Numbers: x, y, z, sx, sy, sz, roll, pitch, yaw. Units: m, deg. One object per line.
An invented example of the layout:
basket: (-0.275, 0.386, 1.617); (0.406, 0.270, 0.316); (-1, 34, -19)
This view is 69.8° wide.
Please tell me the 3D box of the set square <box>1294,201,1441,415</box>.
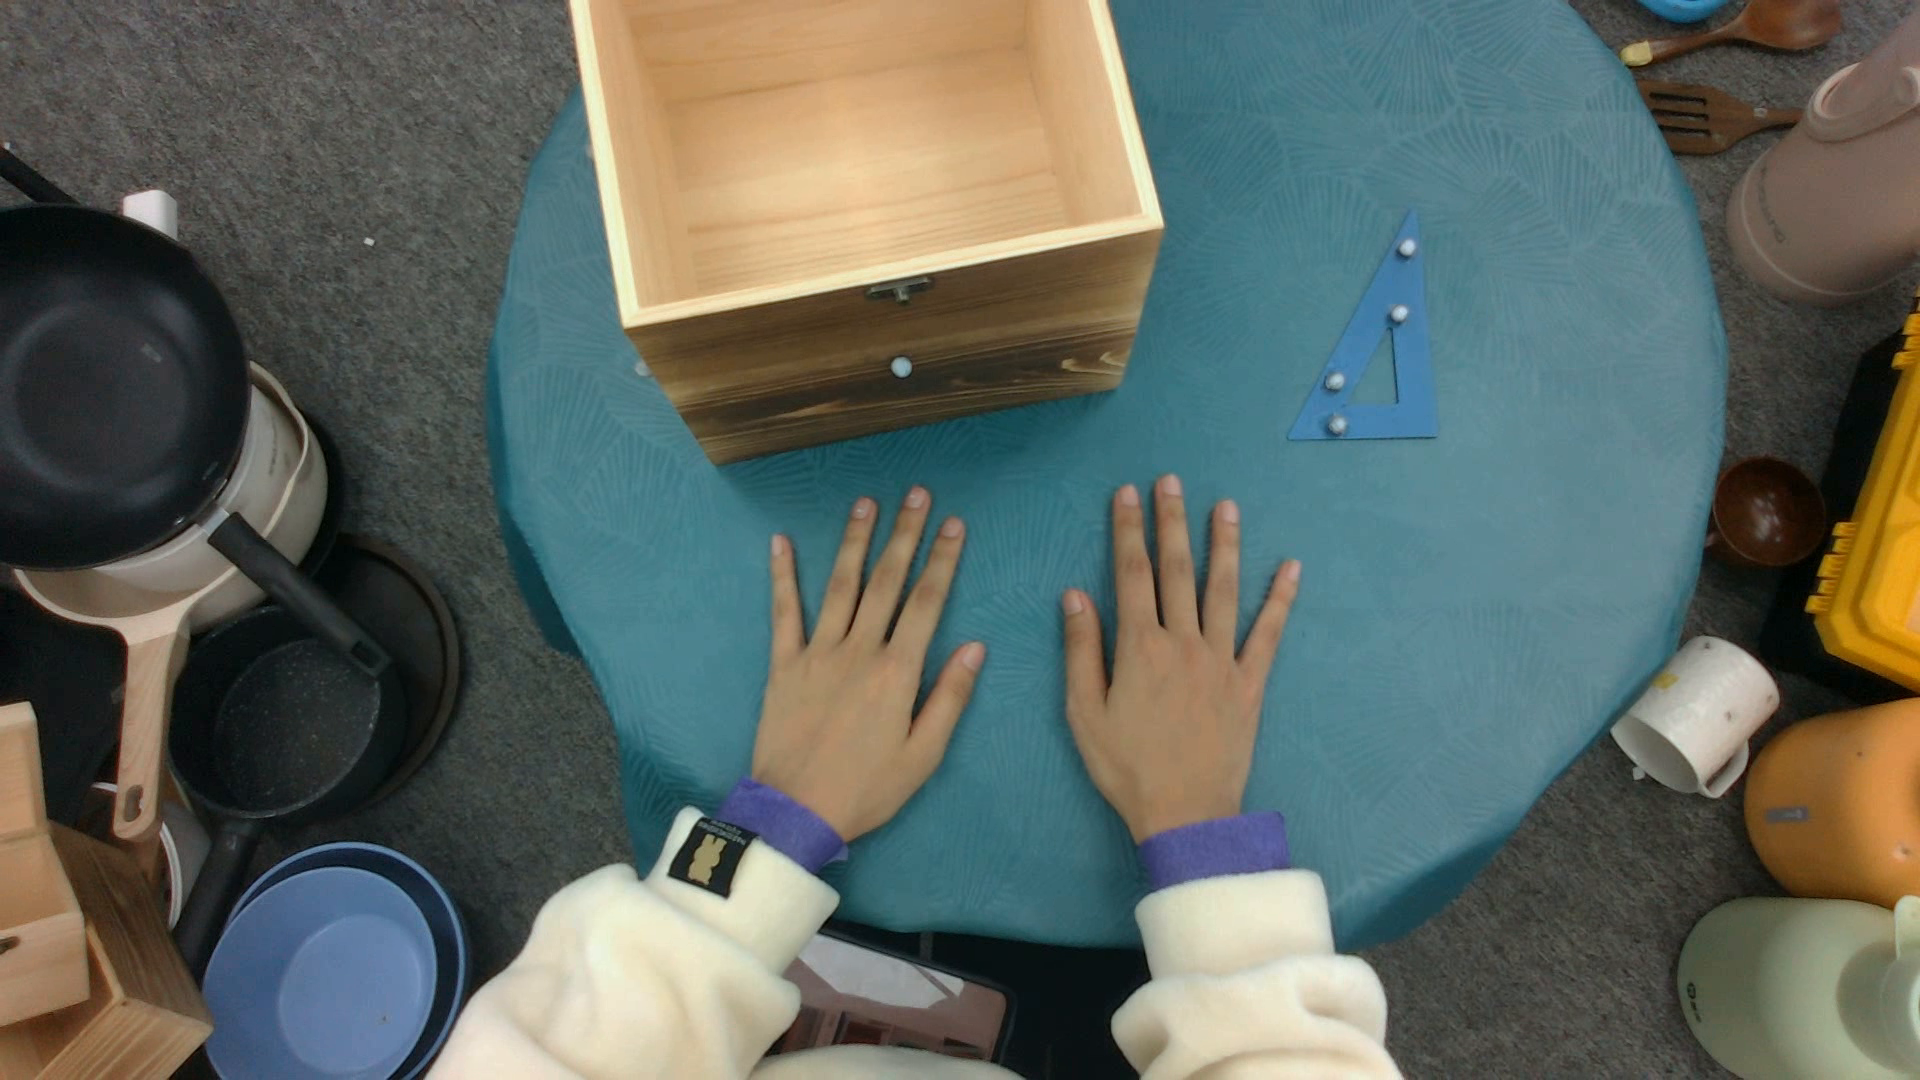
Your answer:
set square: (0.220, -0.106, 0.674); (0.061, 0.006, 0.132); (32, 78, 10)

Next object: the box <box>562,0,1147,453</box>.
box: (-0.062, -0.247, 0.529); (0.209, 0.374, 0.322); (-12, 75, -2)
